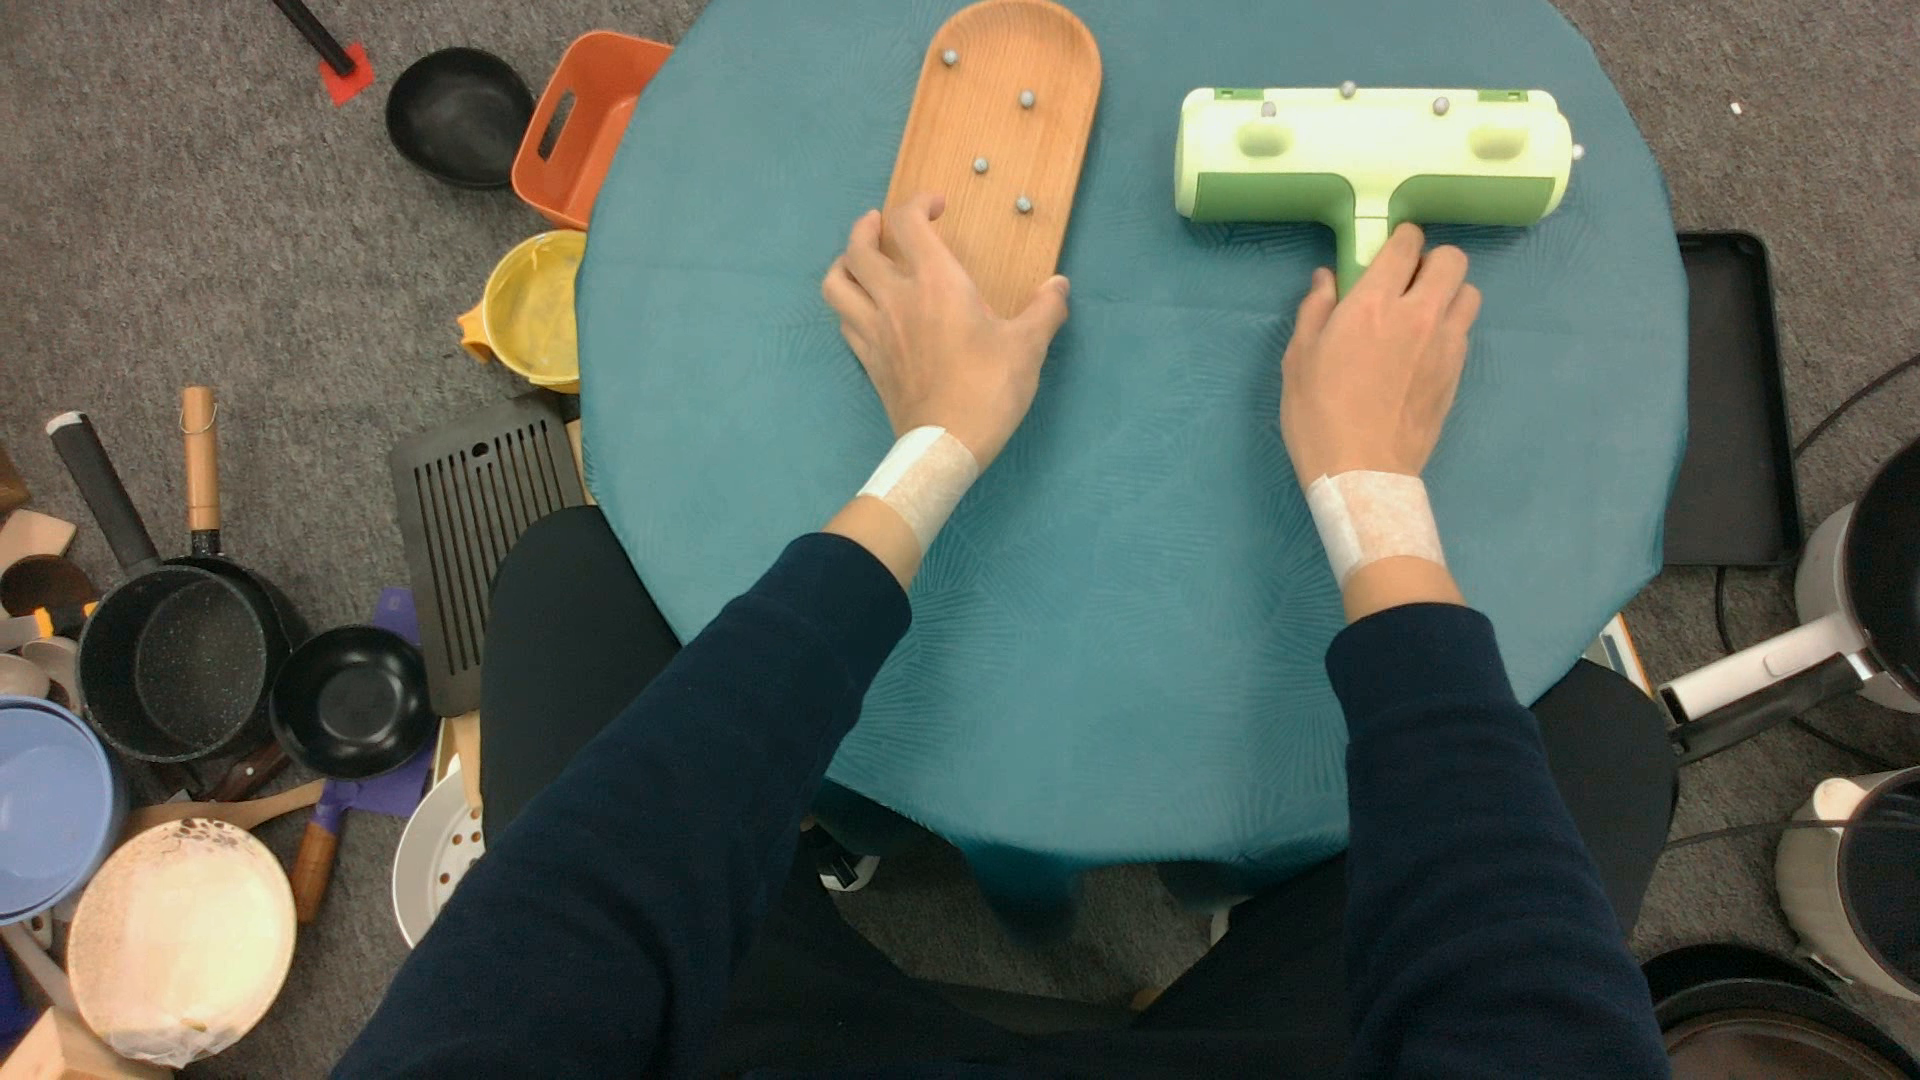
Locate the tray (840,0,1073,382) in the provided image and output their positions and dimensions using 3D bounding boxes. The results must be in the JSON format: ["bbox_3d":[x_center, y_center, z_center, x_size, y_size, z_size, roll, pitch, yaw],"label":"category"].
[{"bbox_3d":[0.000,-0.195,0.758,0.101,0.020,0.231,10,79,7],"label":"tray"}]

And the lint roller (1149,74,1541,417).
[{"bbox_3d":[0.199,-0.159,0.698,0.198,0.082,0.184,0,67,3],"label":"lint roller"}]
